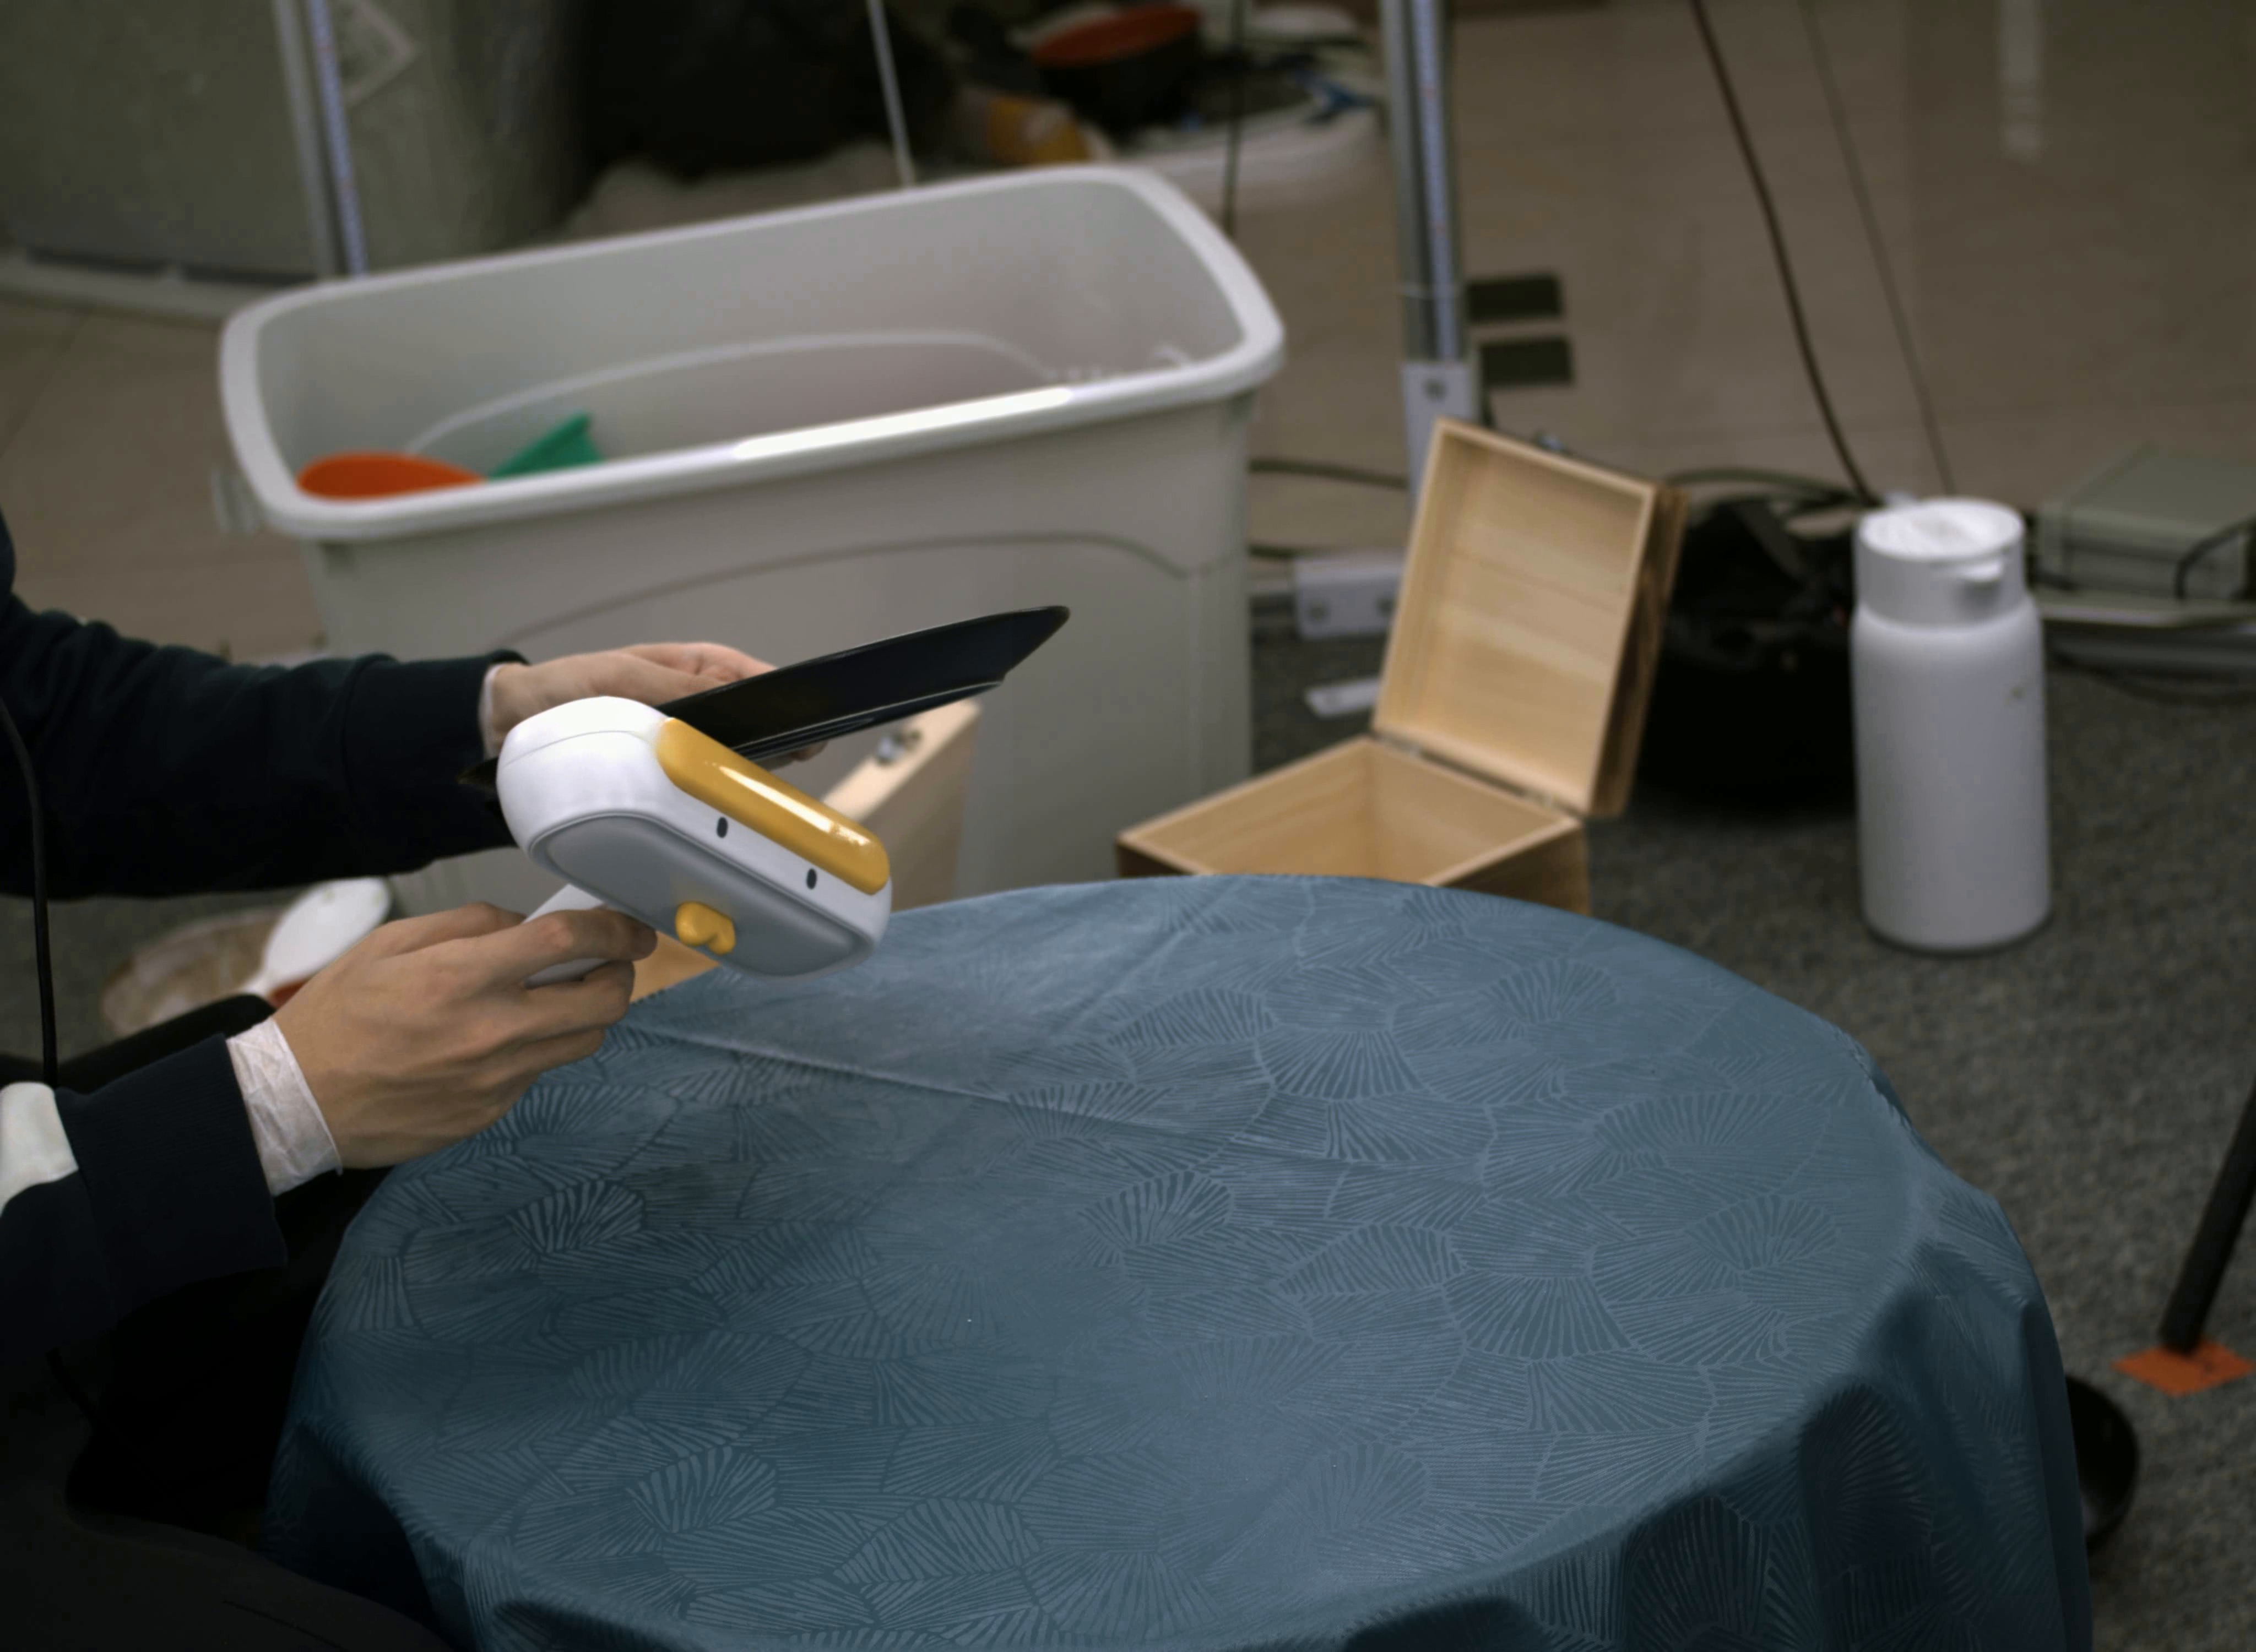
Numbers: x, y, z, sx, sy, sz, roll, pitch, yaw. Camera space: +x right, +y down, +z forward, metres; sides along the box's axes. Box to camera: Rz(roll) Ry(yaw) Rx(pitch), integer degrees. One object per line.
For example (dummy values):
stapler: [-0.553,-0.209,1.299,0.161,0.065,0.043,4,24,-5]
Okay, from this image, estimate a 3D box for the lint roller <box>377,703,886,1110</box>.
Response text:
lint roller: [-0.205,0.038,2.089,0.193,0.073,0.194,-30,-28,25]

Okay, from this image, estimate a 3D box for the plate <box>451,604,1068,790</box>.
plate: [-0.137,-0.041,2.156,0.244,0.023,0.244,-16,-1,0]
